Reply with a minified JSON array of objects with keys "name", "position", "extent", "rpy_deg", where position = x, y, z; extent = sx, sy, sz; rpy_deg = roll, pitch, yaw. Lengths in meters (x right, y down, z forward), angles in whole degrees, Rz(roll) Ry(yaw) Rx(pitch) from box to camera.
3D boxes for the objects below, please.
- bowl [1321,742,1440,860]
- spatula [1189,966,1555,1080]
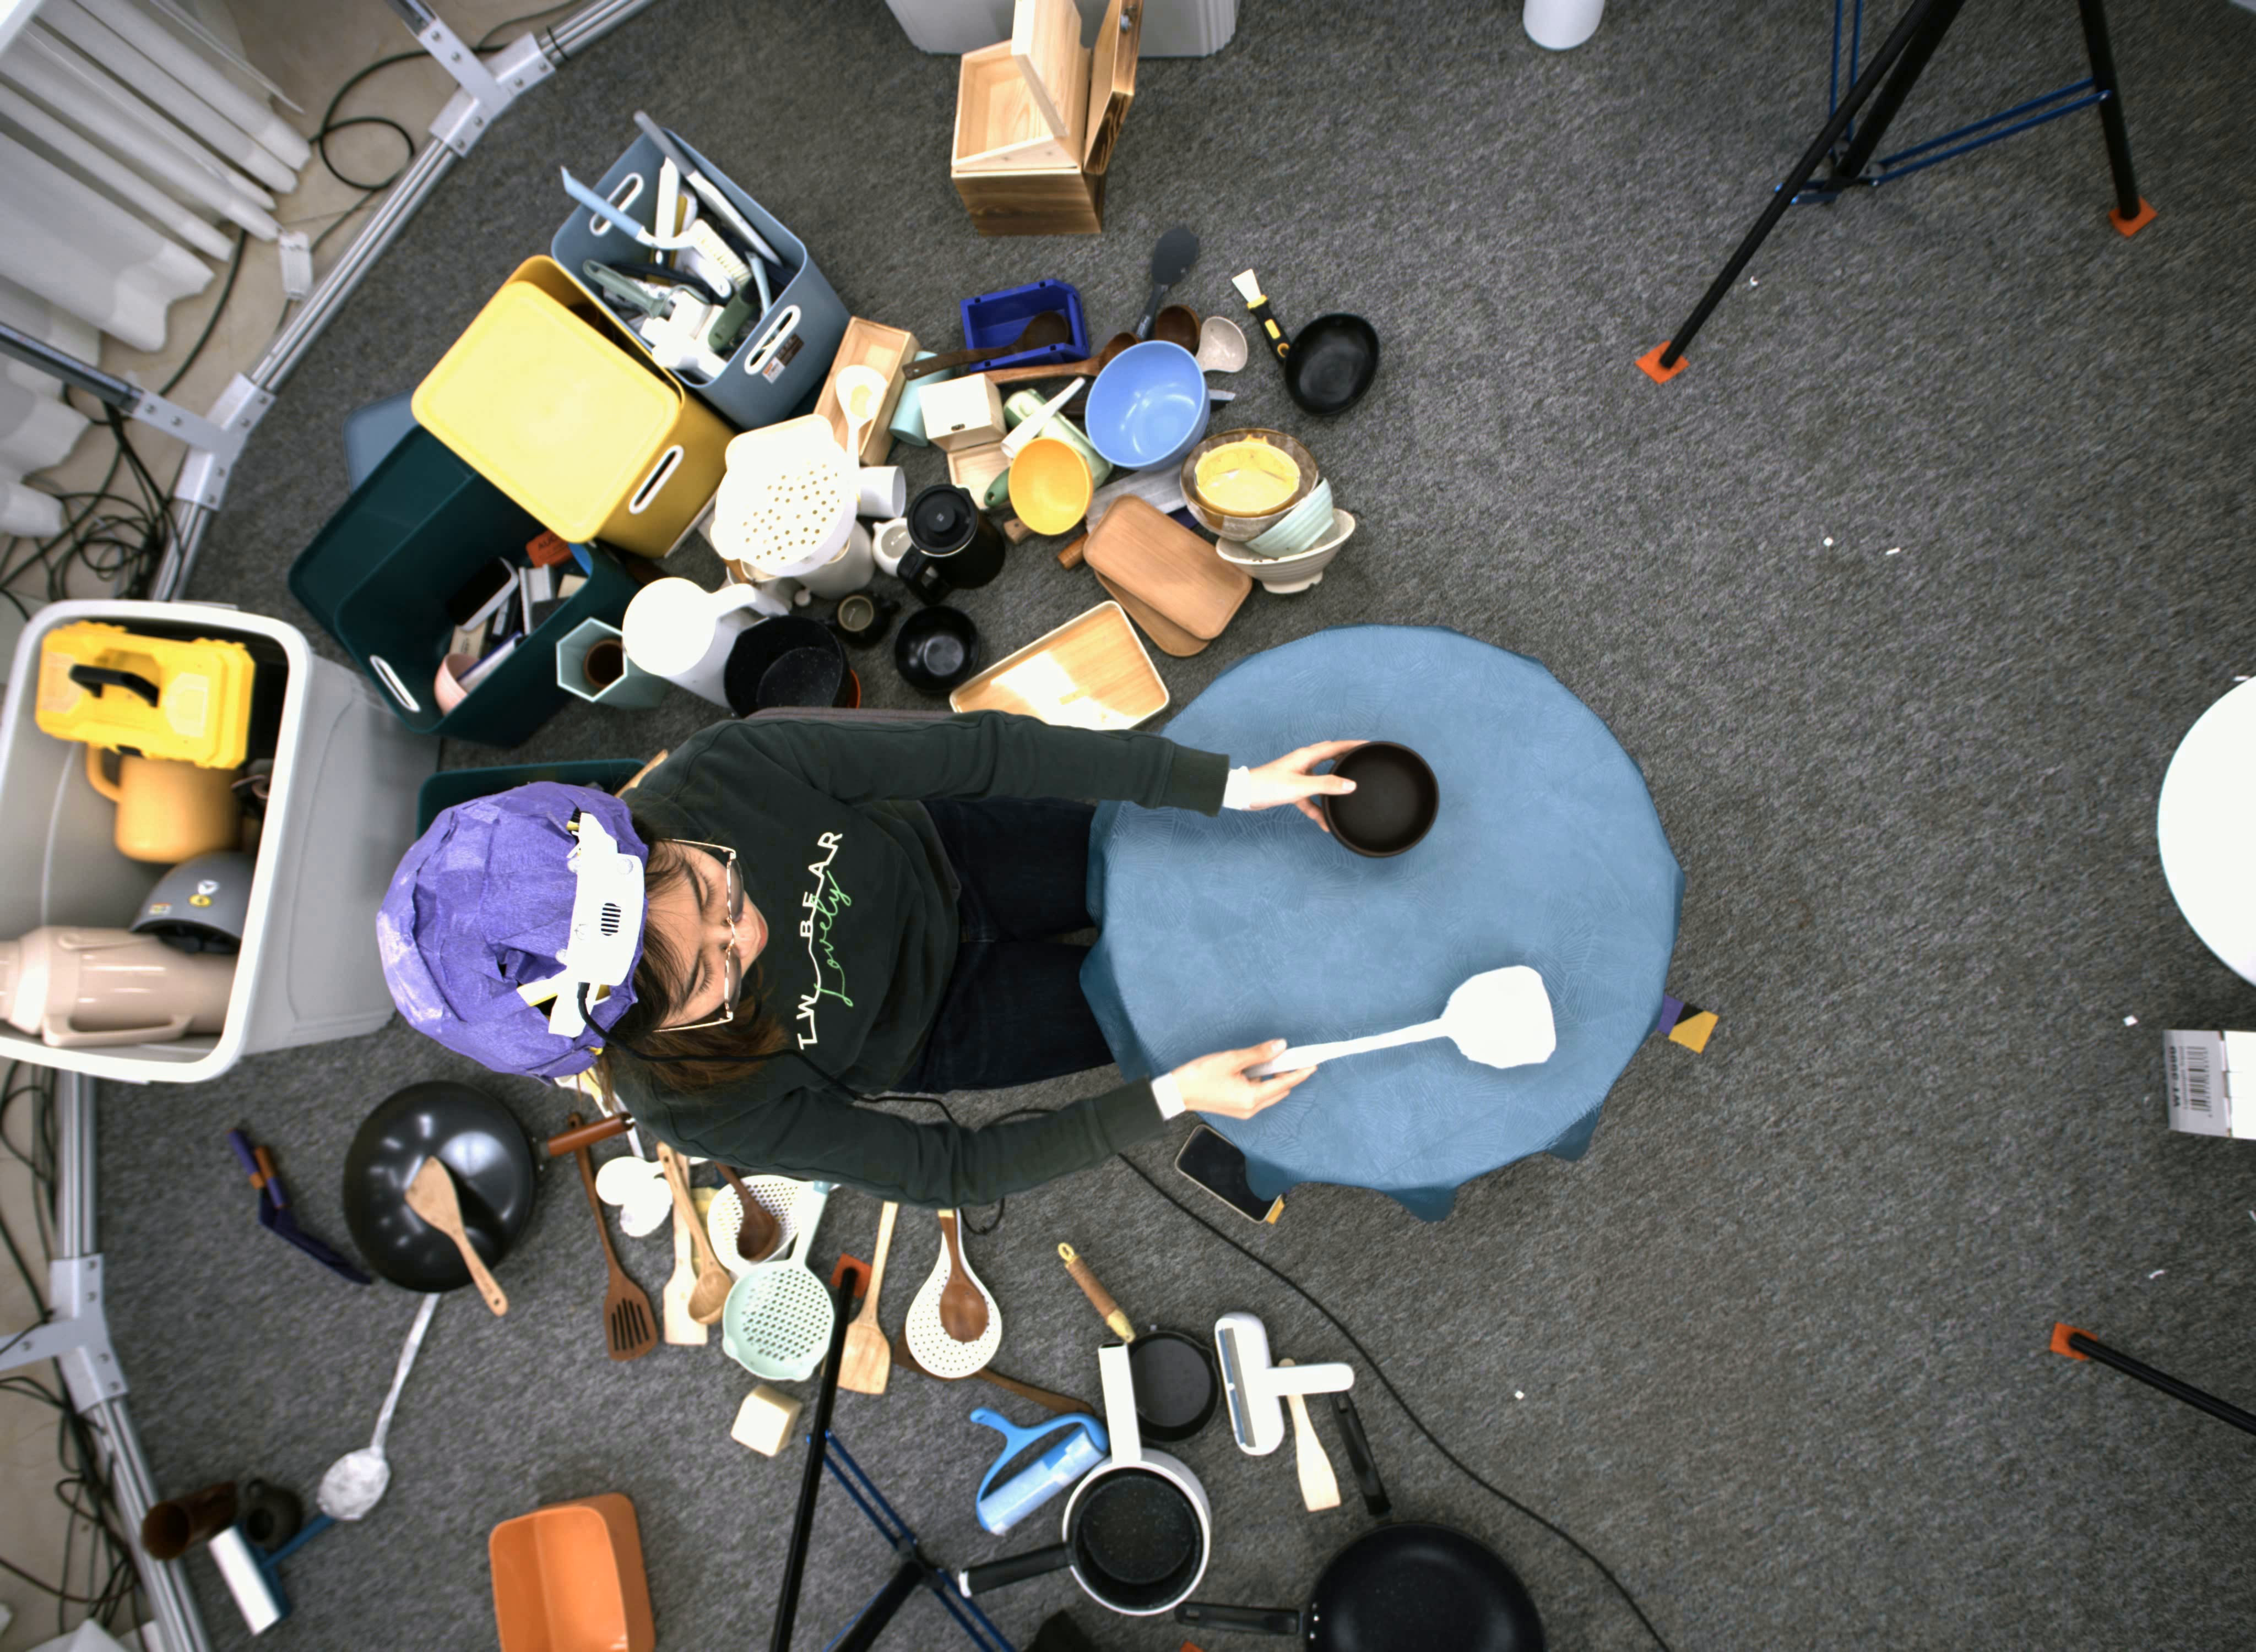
[{"name":"bowl","position":[0.253,-0.025,1.395],"extent":[0.118,0.070,0.117],"rpy_deg":[0,88,6]},{"name":"spatula","position":[0.242,0.215,1.387],"extent":[0.366,0.044,0.099],"rpy_deg":[-11,91,3]}]
